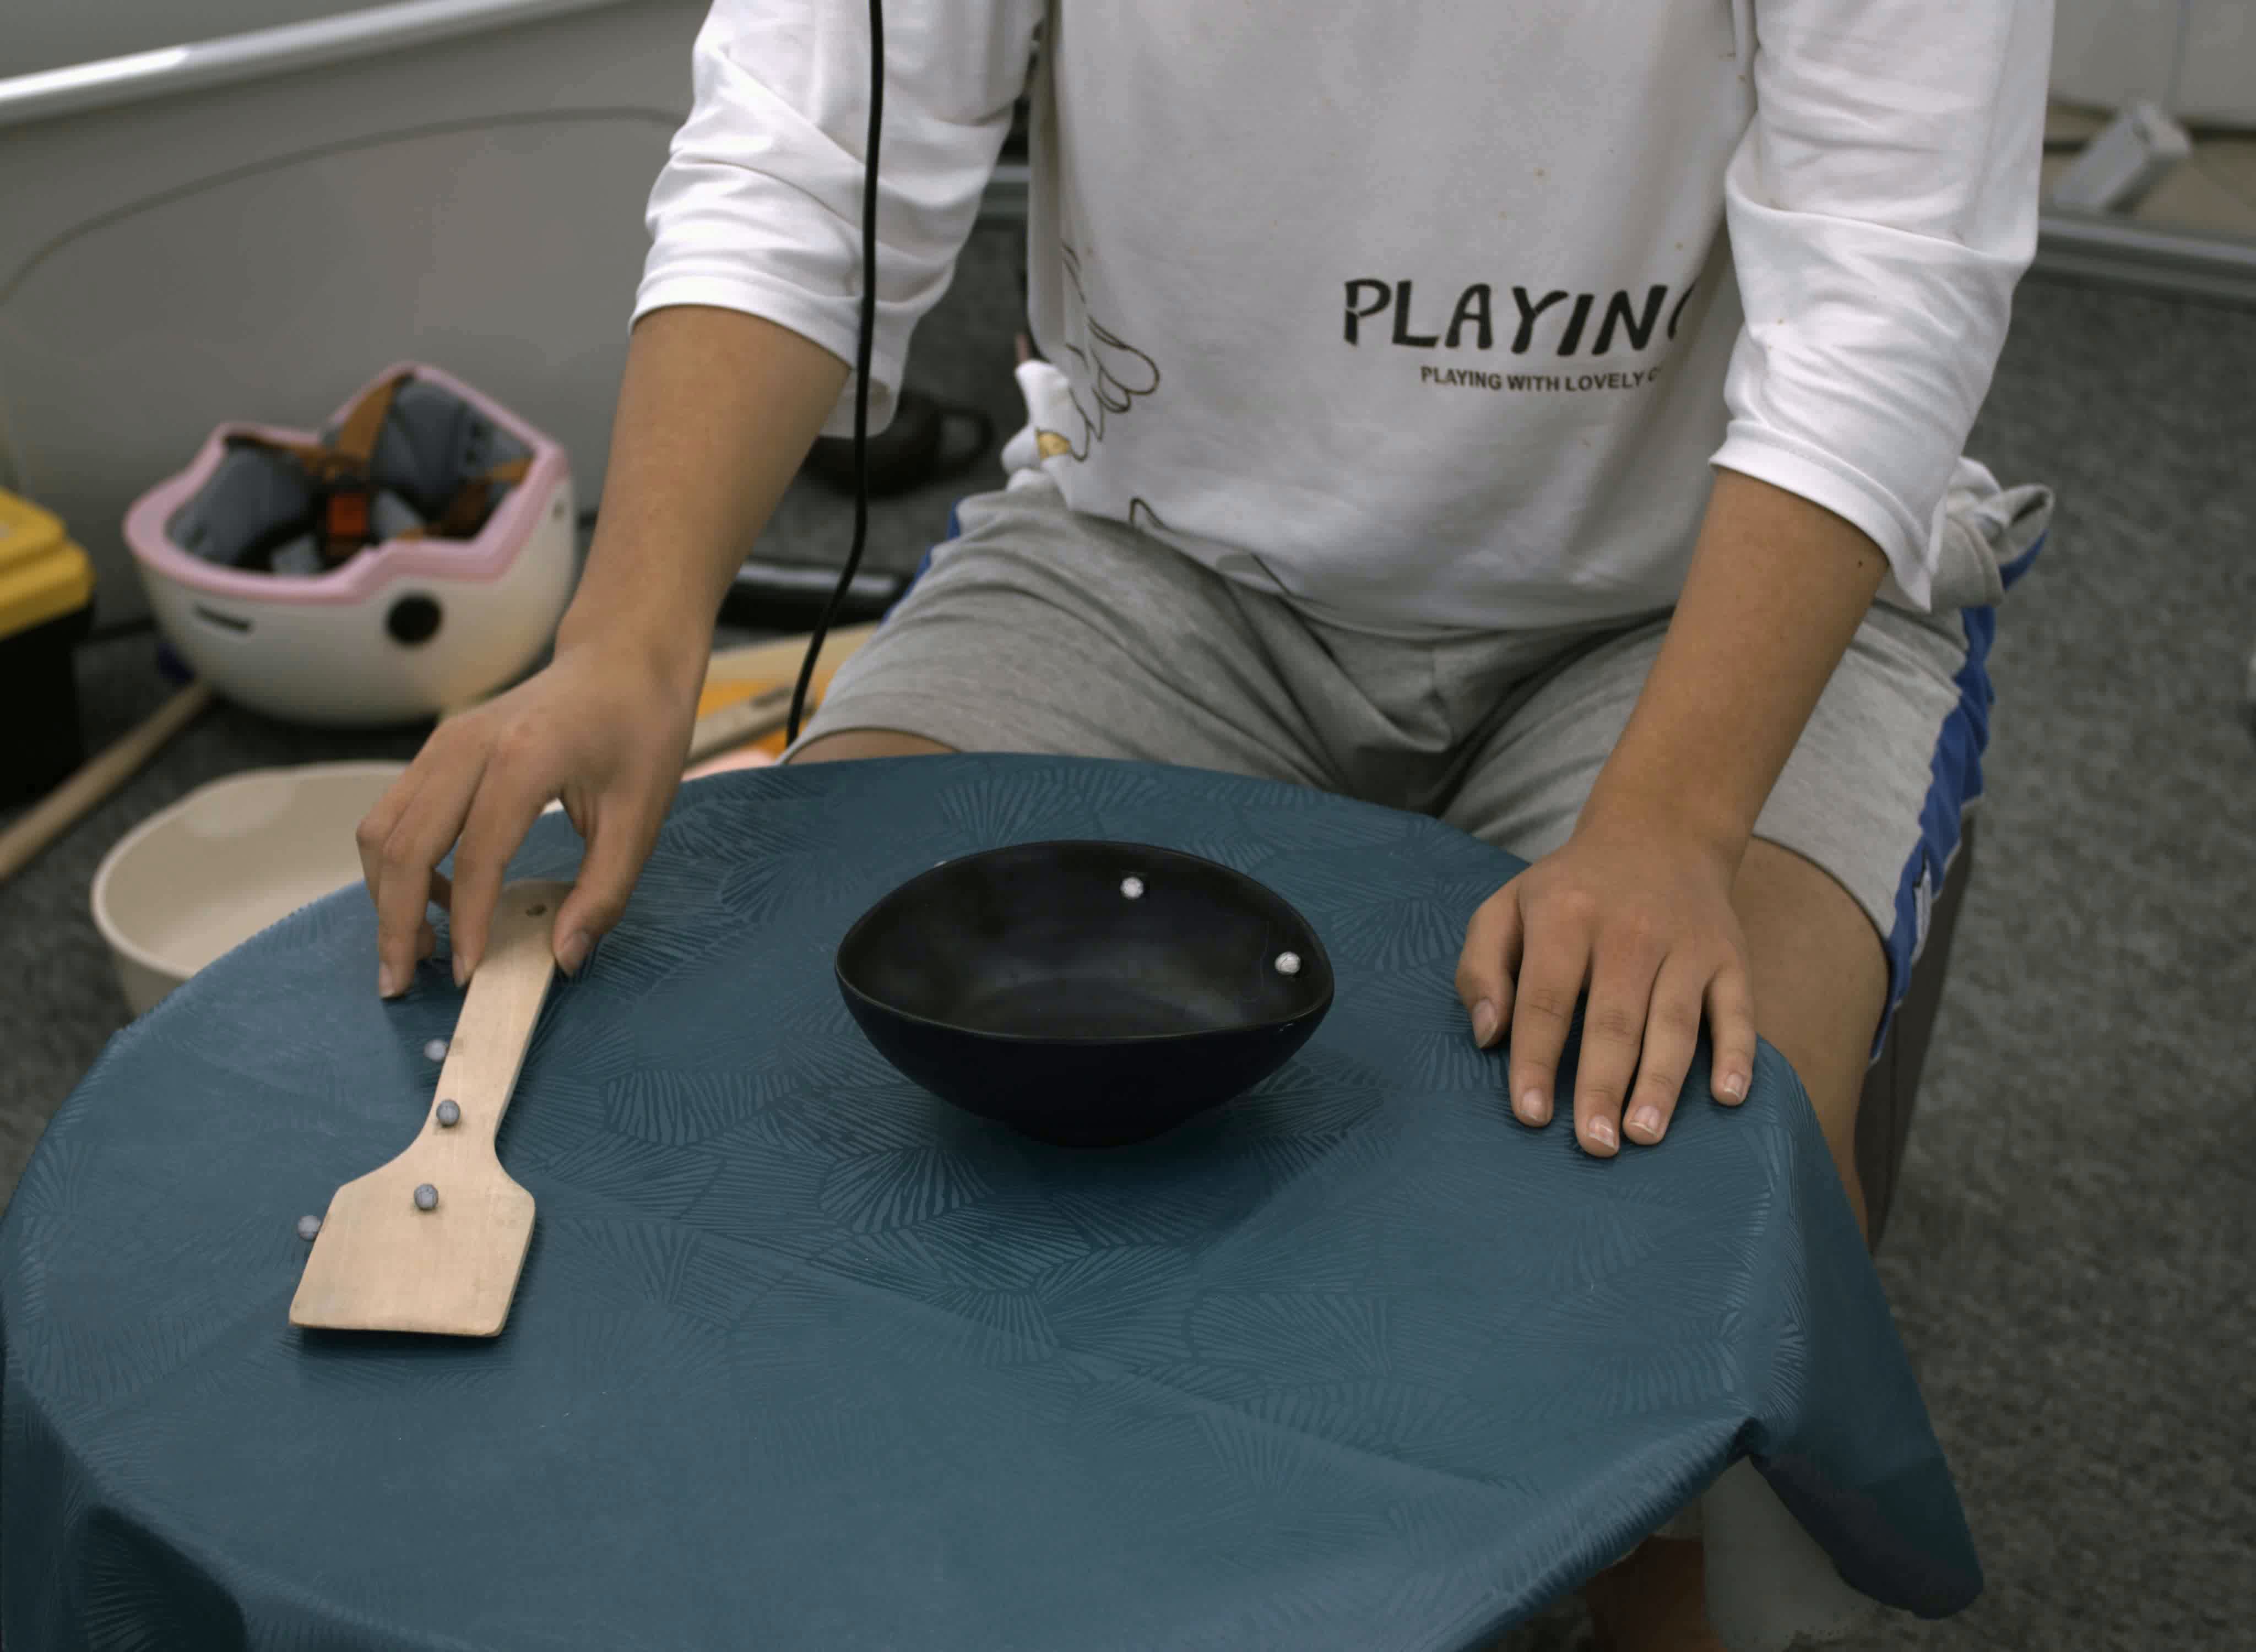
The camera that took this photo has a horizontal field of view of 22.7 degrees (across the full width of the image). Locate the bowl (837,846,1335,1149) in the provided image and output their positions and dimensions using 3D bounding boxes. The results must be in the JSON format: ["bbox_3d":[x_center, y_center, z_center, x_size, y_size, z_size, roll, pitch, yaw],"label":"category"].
[{"bbox_3d":[-0.014,0.065,1.907,0.169,0.066,0.139,3,27,6],"label":"bowl"}]

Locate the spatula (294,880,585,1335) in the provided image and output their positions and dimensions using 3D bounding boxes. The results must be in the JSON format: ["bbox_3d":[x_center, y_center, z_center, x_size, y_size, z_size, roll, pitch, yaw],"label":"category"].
[{"bbox_3d":[-0.223,0.093,1.924,0.072,0.010,0.298,2,29,4],"label":"spatula"}]
